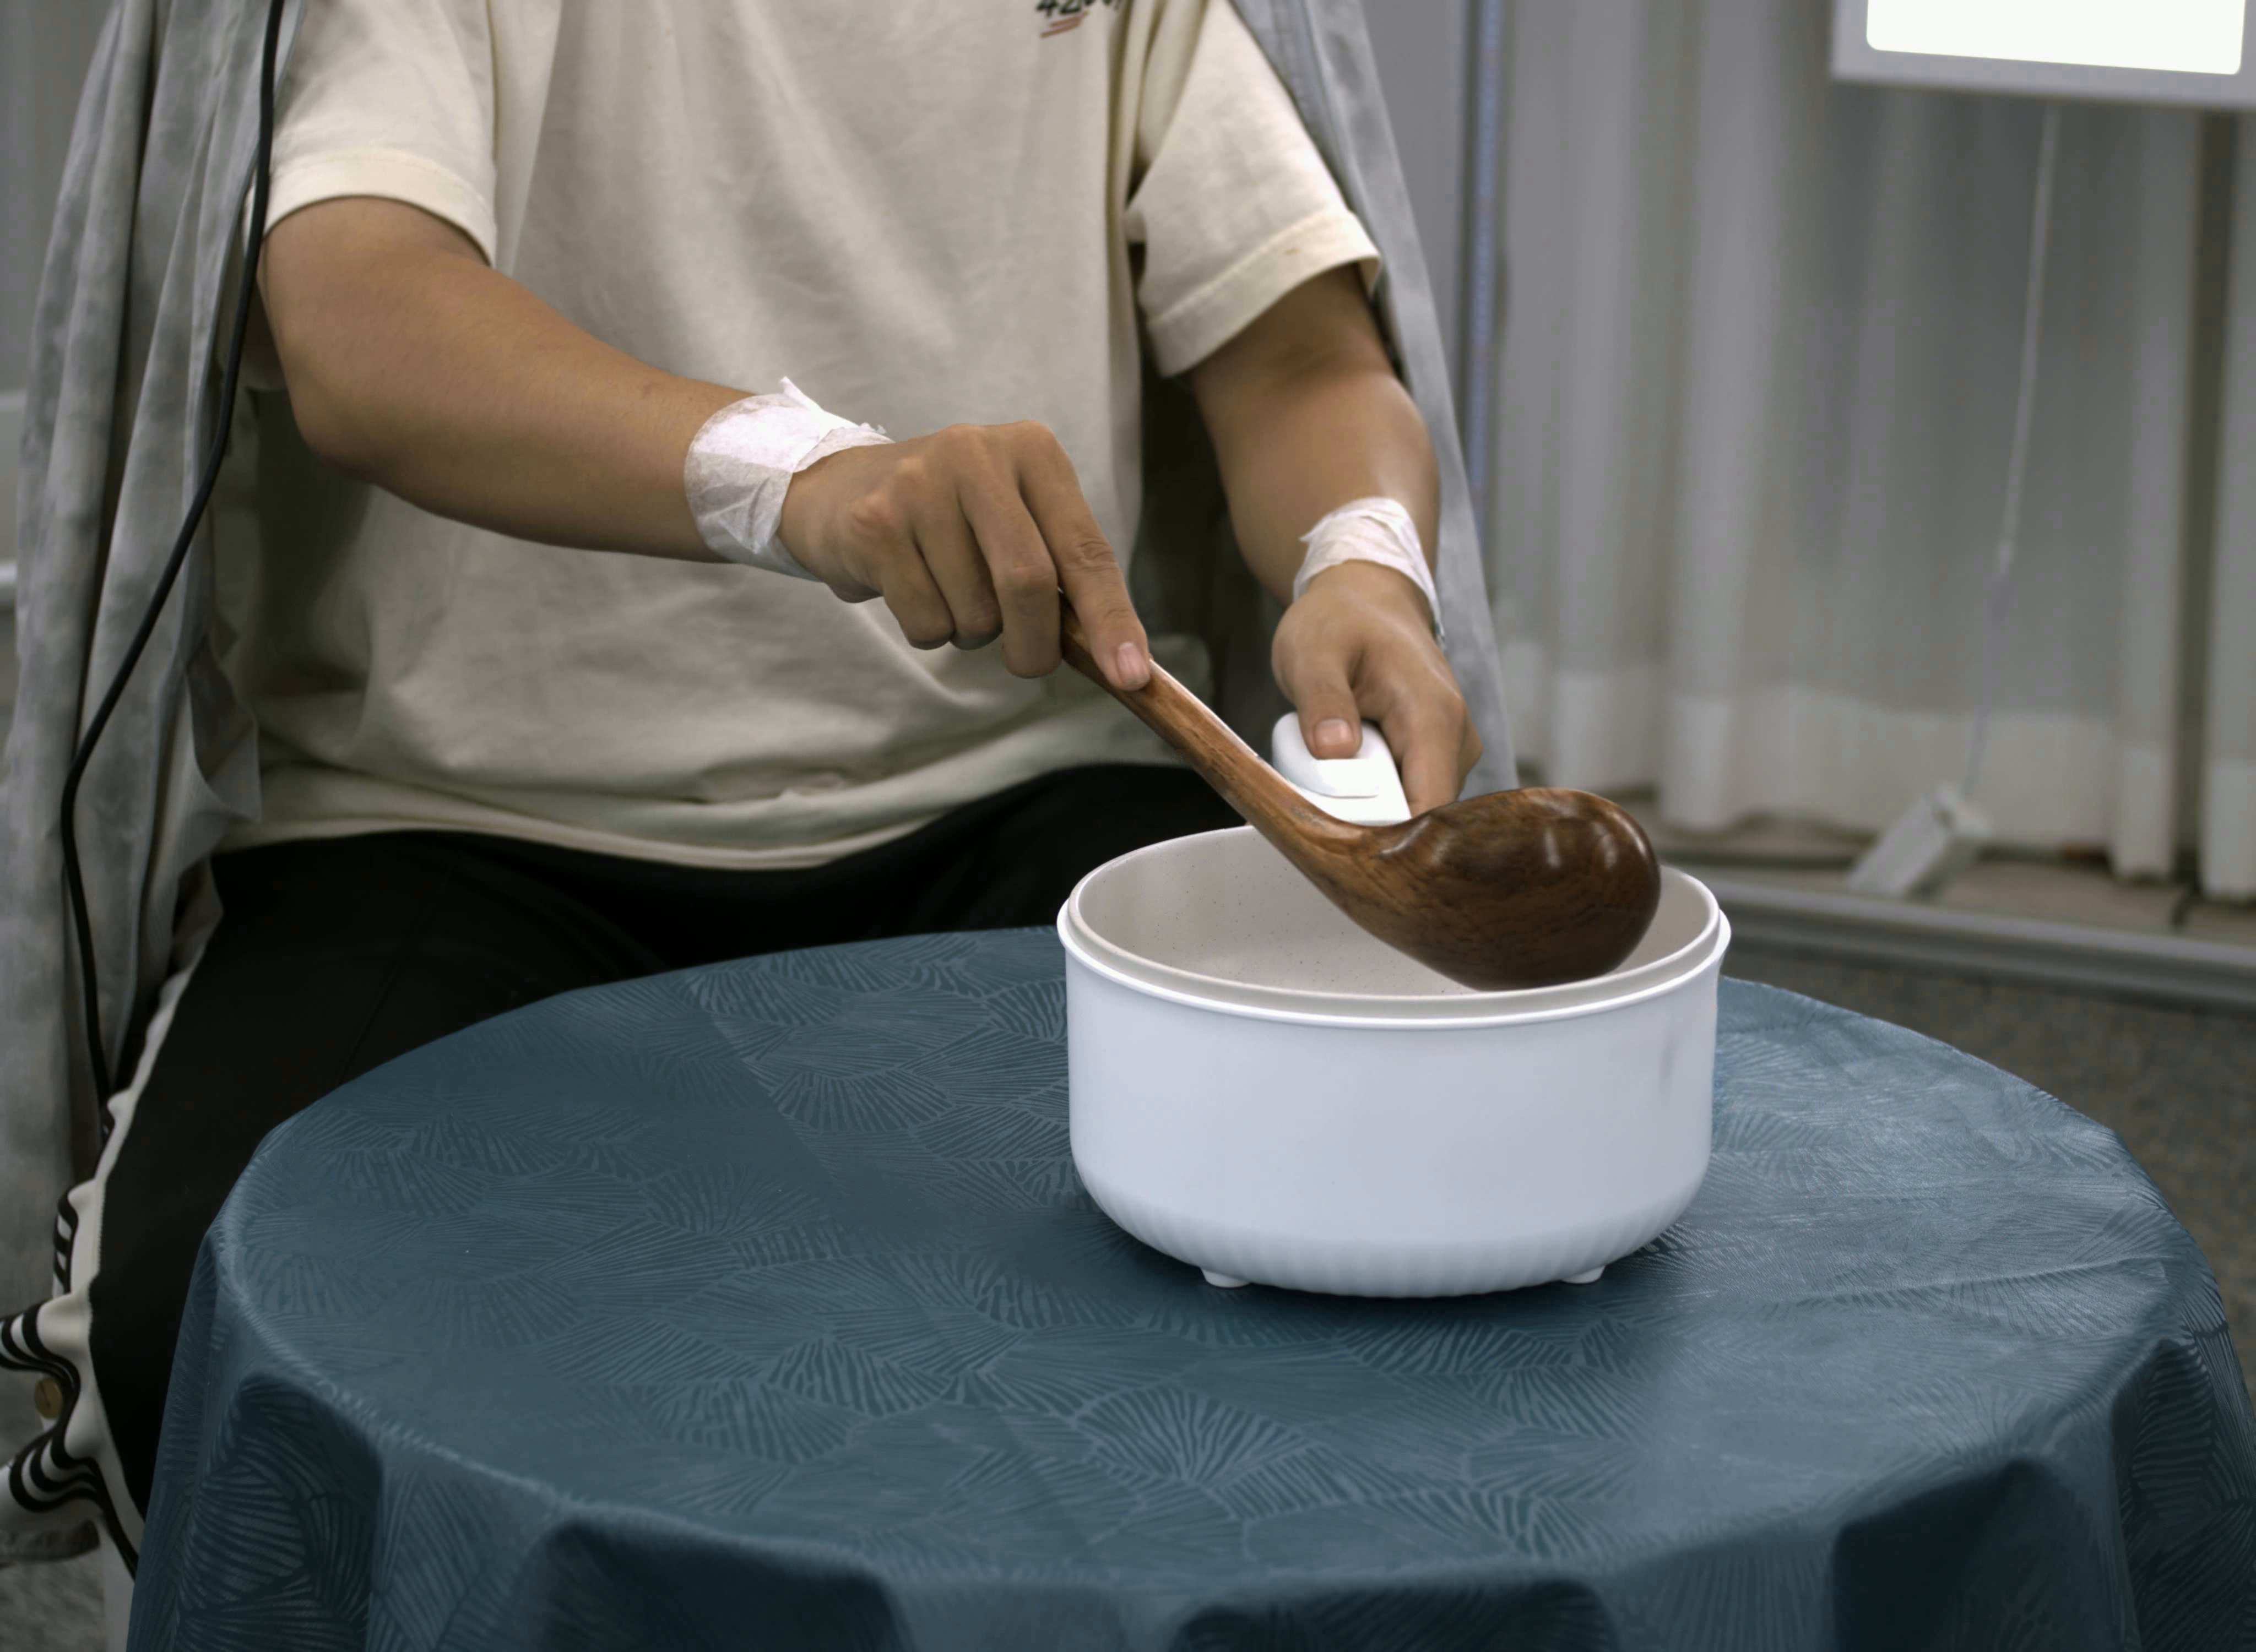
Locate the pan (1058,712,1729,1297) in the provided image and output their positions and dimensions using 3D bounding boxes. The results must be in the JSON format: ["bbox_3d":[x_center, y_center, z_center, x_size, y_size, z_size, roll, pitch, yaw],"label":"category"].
[{"bbox_3d":[0.077,0.051,1.663,0.201,0.103,0.353,-1,15,-2],"label":"pan"}]

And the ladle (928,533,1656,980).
[{"bbox_3d":[0.048,-0.035,1.596,0.076,0.083,0.270,-30,48,-25],"label":"ladle"}]
